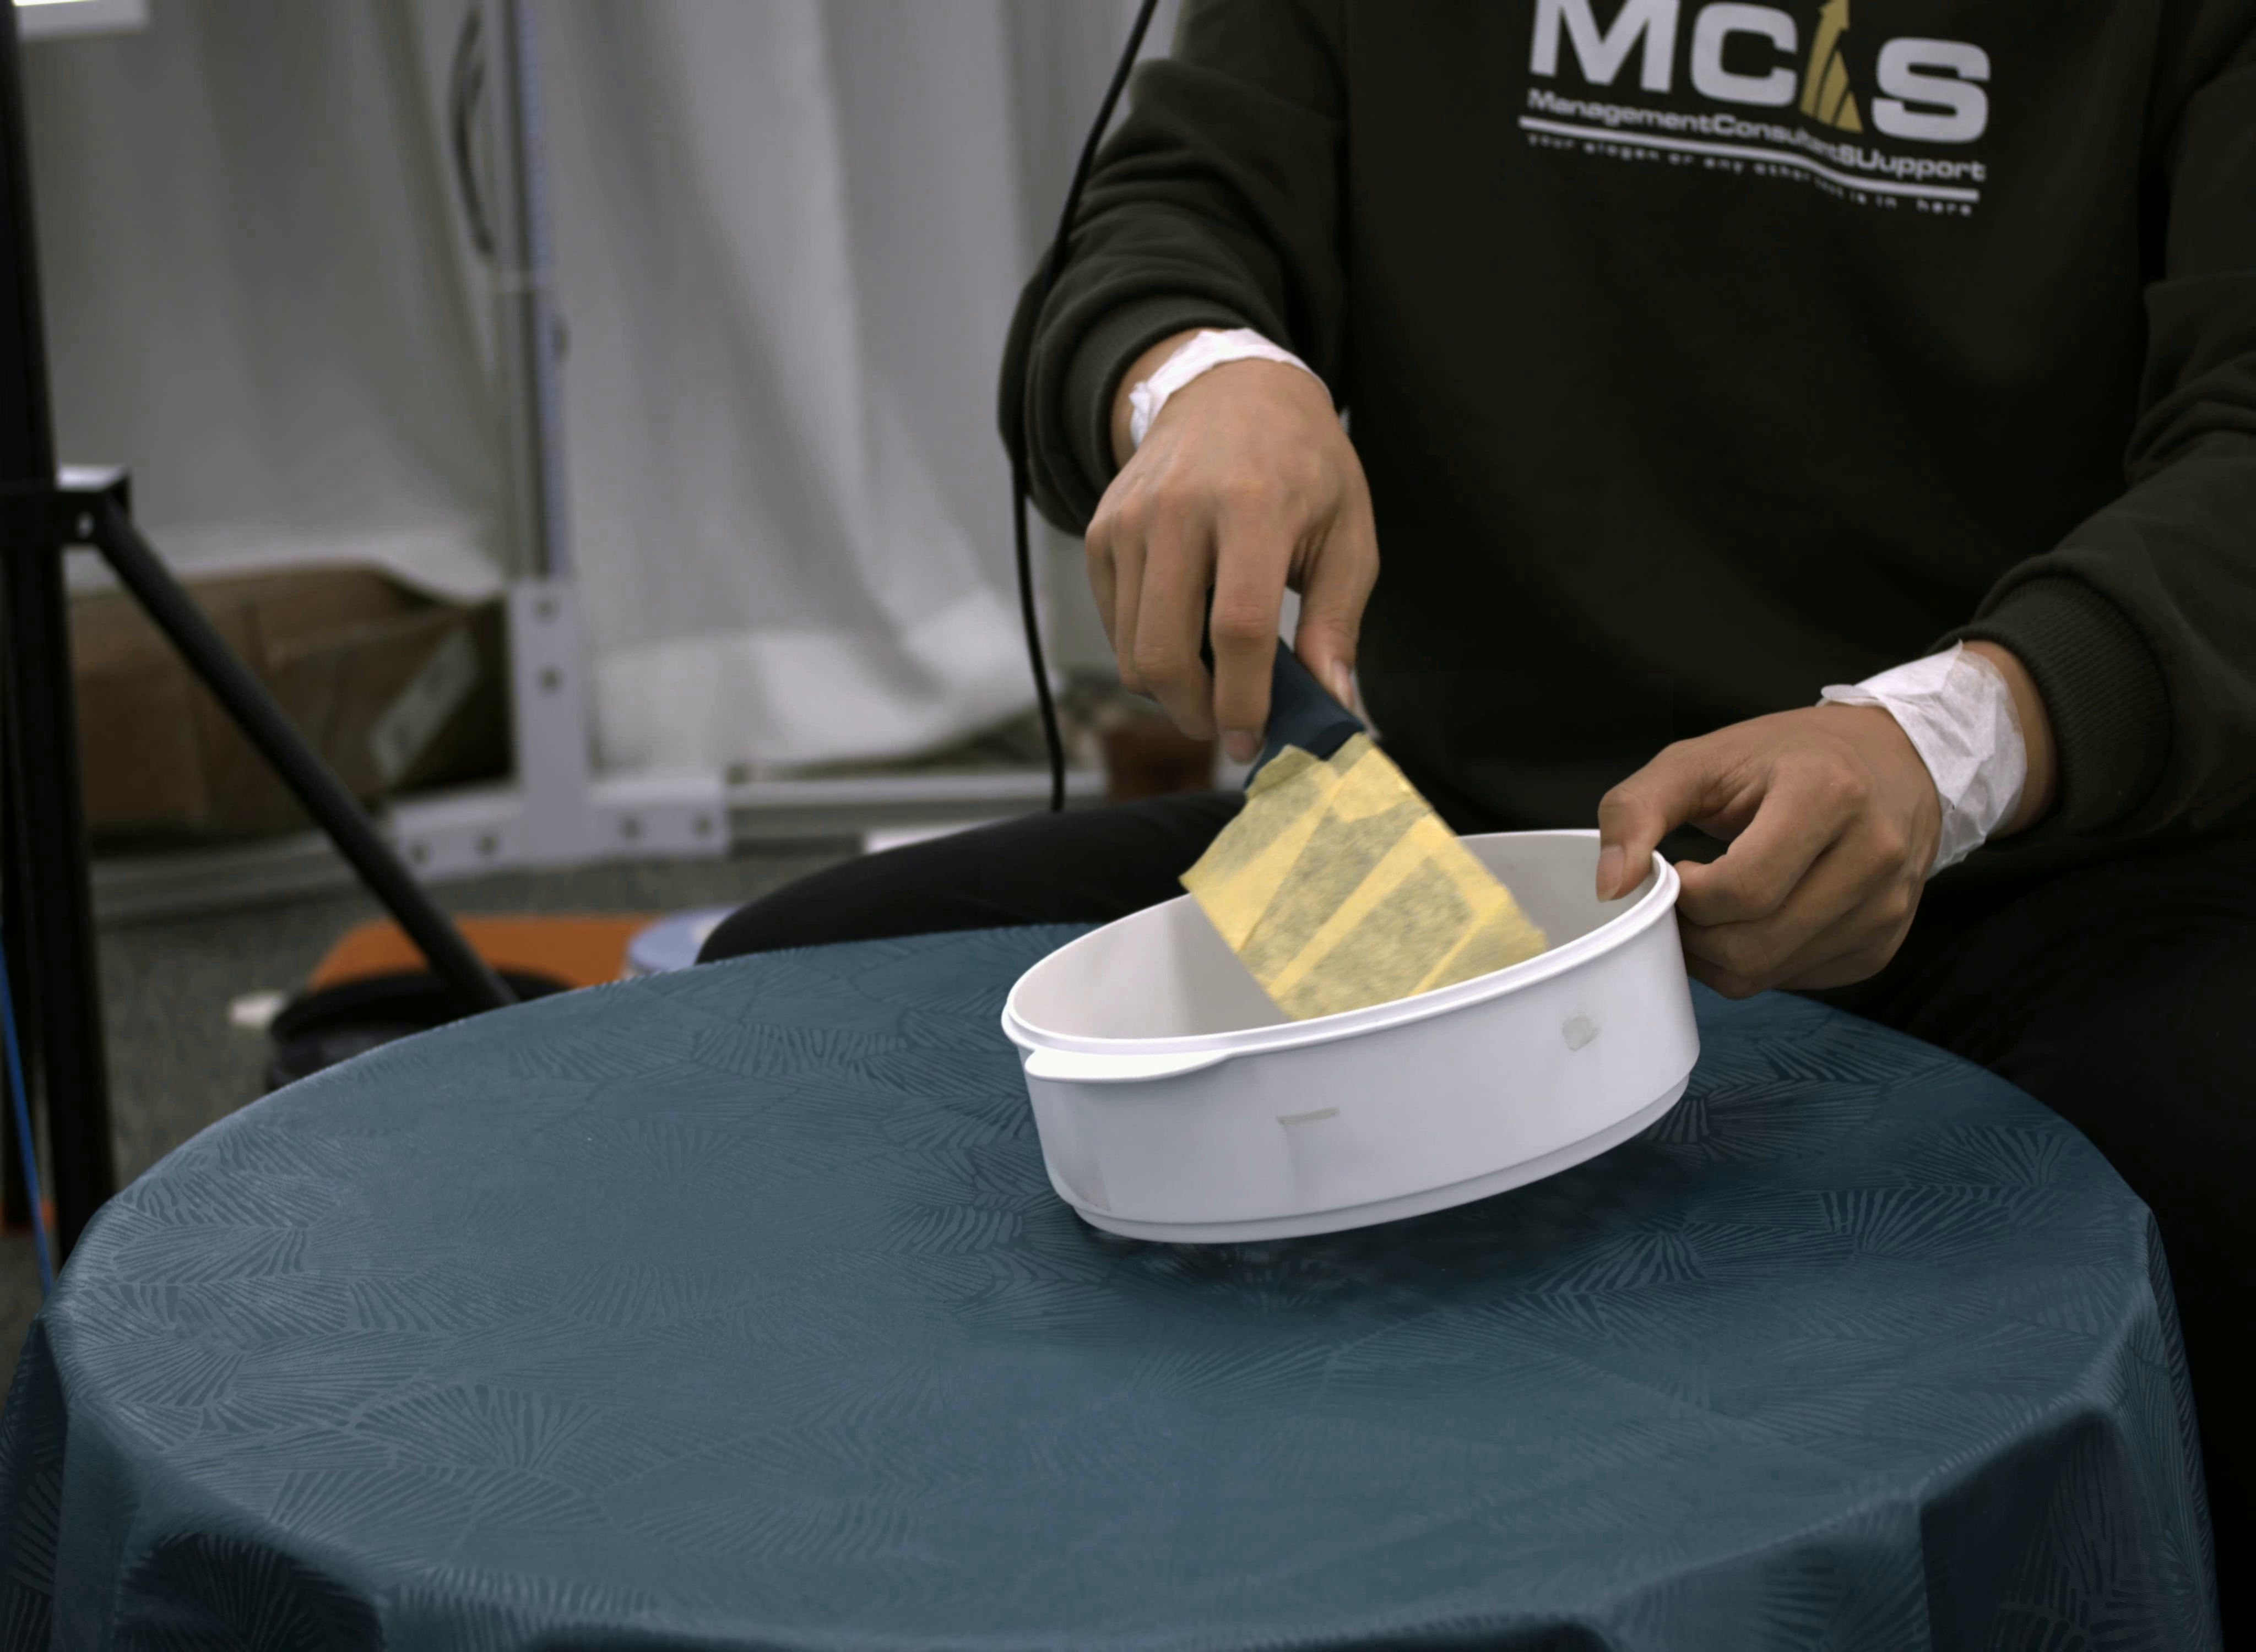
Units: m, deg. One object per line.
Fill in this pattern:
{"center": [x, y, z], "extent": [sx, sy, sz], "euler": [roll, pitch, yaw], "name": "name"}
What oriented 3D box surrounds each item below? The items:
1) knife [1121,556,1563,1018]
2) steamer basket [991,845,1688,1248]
{"center": [0.055, 0.002, 1.589], "extent": [0.026, 0.081, 0.295], "euler": [39, 10, -39], "name": "knife"}
{"center": [0.064, 0.064, 1.540], "extent": [0.206, 0.069, 0.226], "euler": [0, 16, 44], "name": "steamer basket"}
